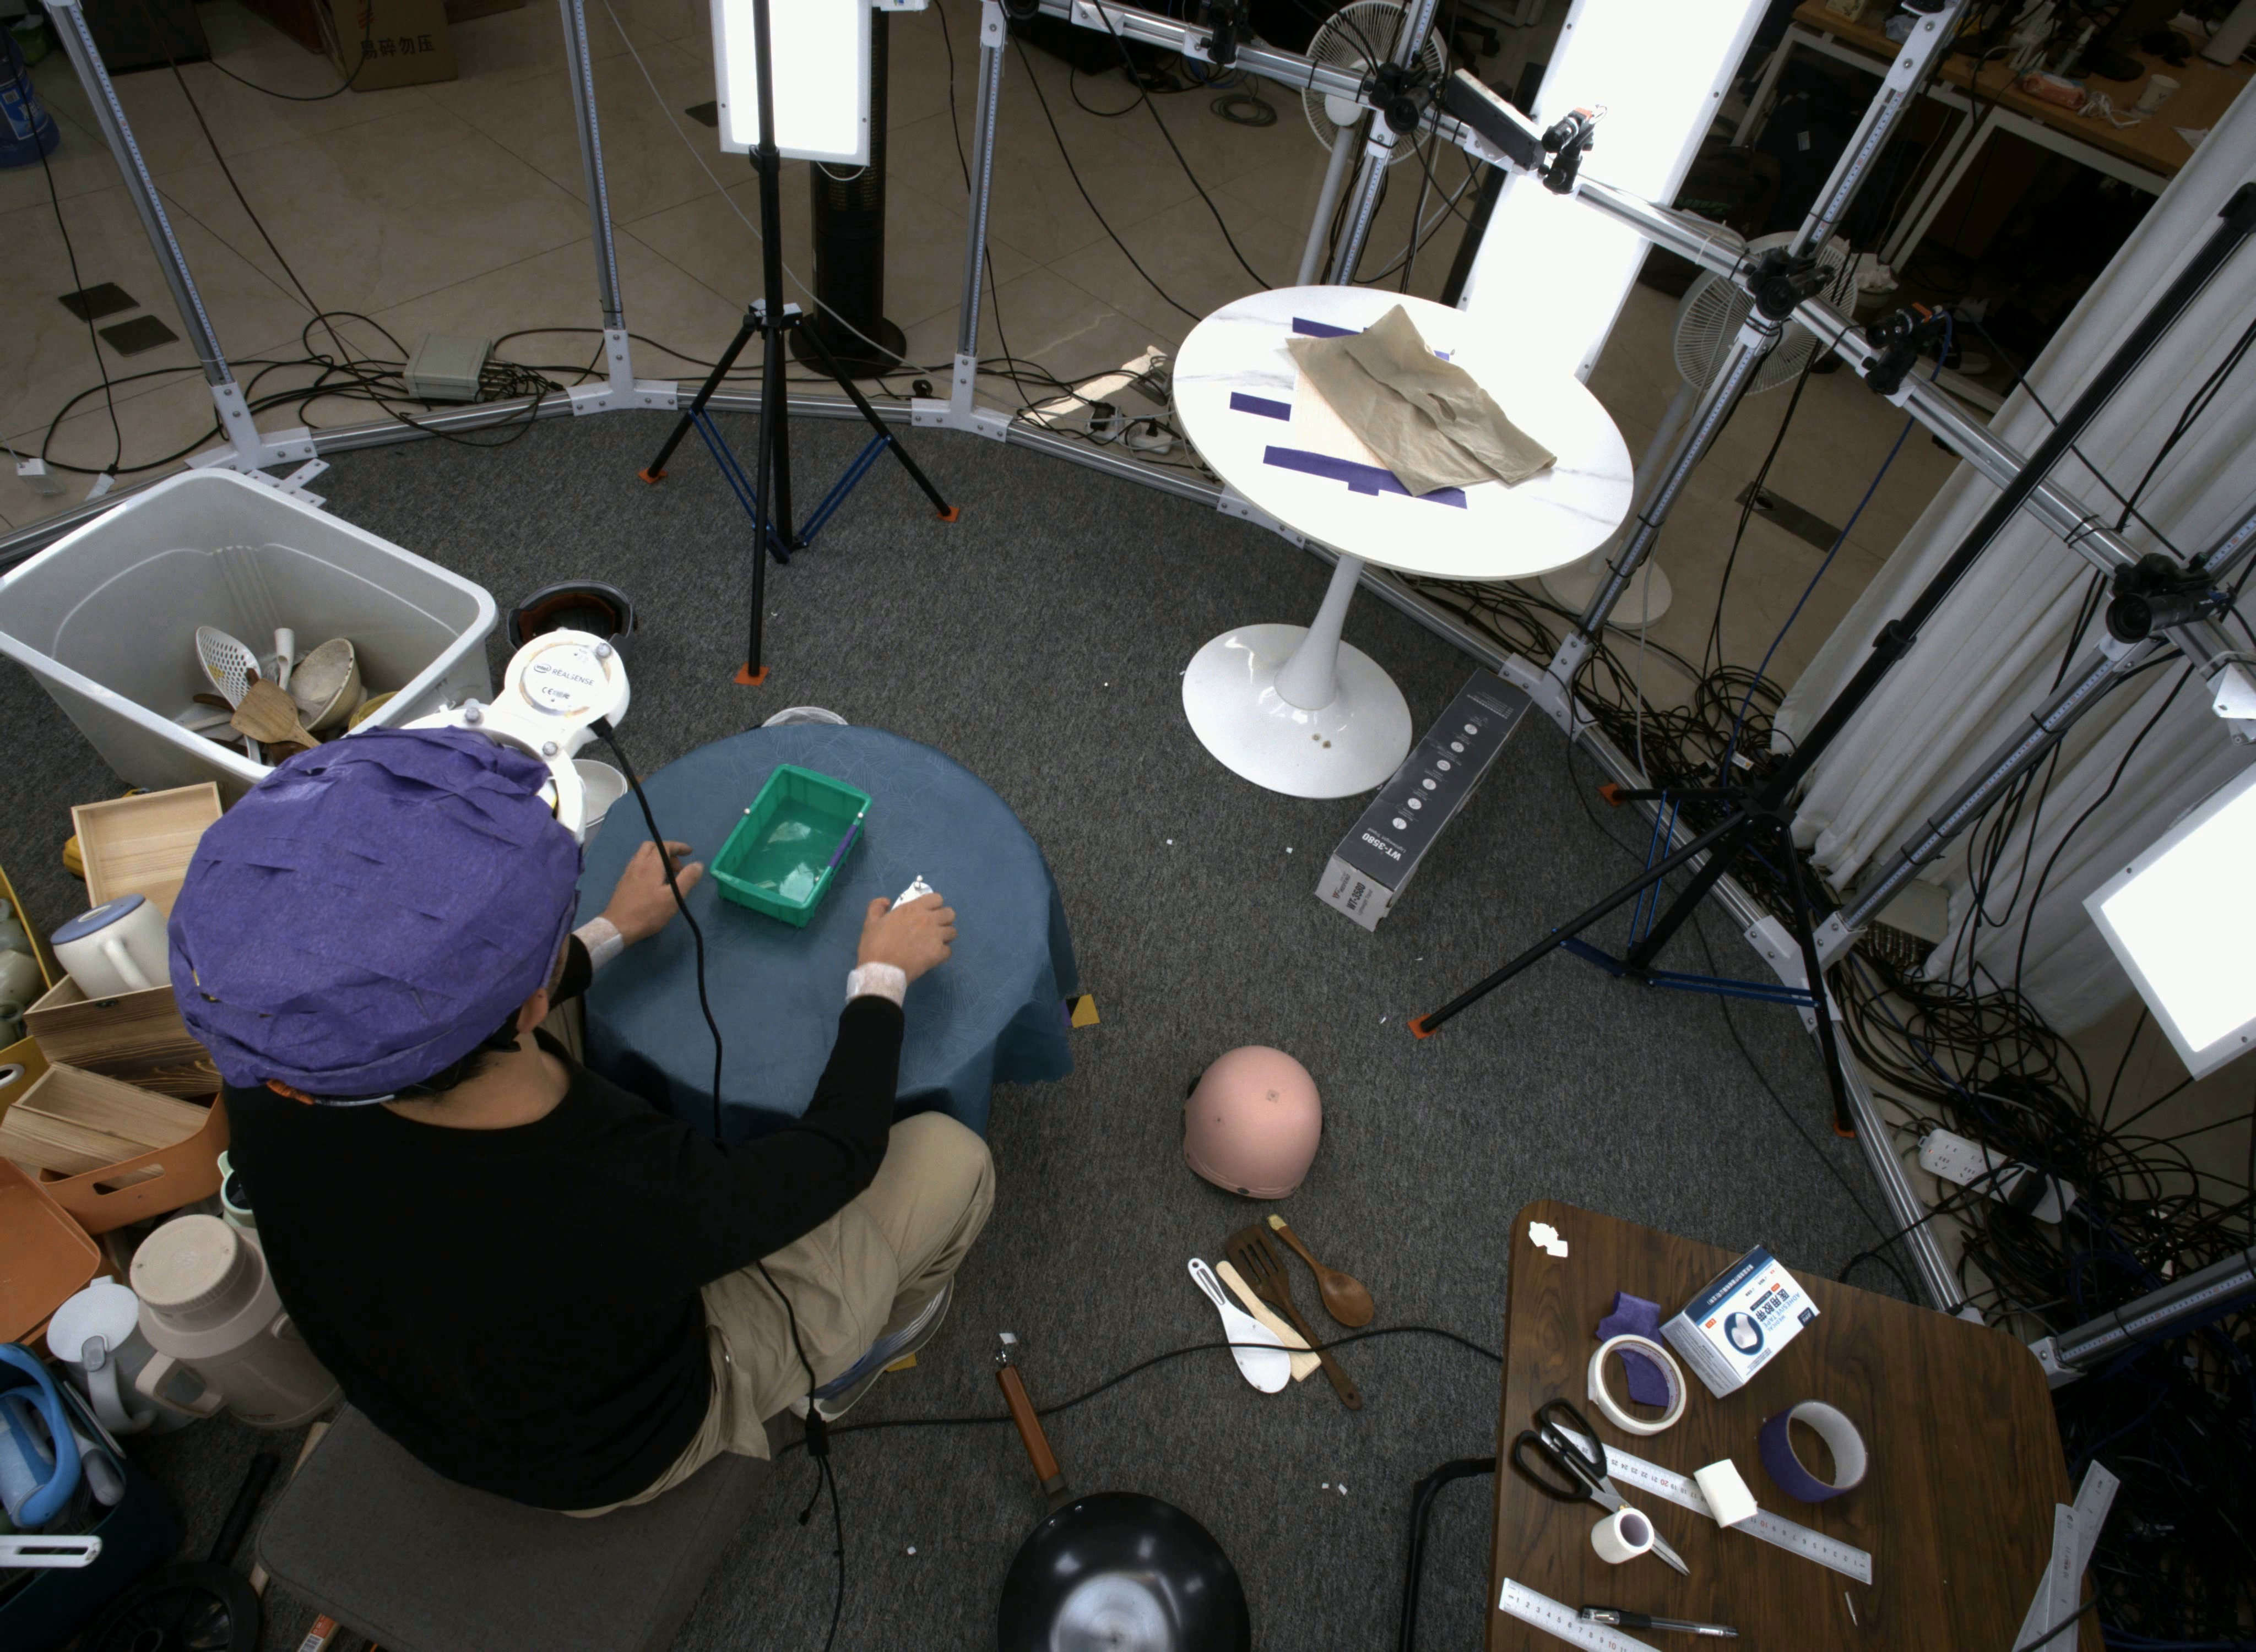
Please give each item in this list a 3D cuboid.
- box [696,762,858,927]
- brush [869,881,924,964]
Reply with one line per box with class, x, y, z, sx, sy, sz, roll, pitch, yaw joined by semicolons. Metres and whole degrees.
box;-0.445;0.024;1.655;0.137;0.066;0.208;20;50;-1
brush;-0.288;0.111;1.623;0.049;0.074;0.098;21;51;4
